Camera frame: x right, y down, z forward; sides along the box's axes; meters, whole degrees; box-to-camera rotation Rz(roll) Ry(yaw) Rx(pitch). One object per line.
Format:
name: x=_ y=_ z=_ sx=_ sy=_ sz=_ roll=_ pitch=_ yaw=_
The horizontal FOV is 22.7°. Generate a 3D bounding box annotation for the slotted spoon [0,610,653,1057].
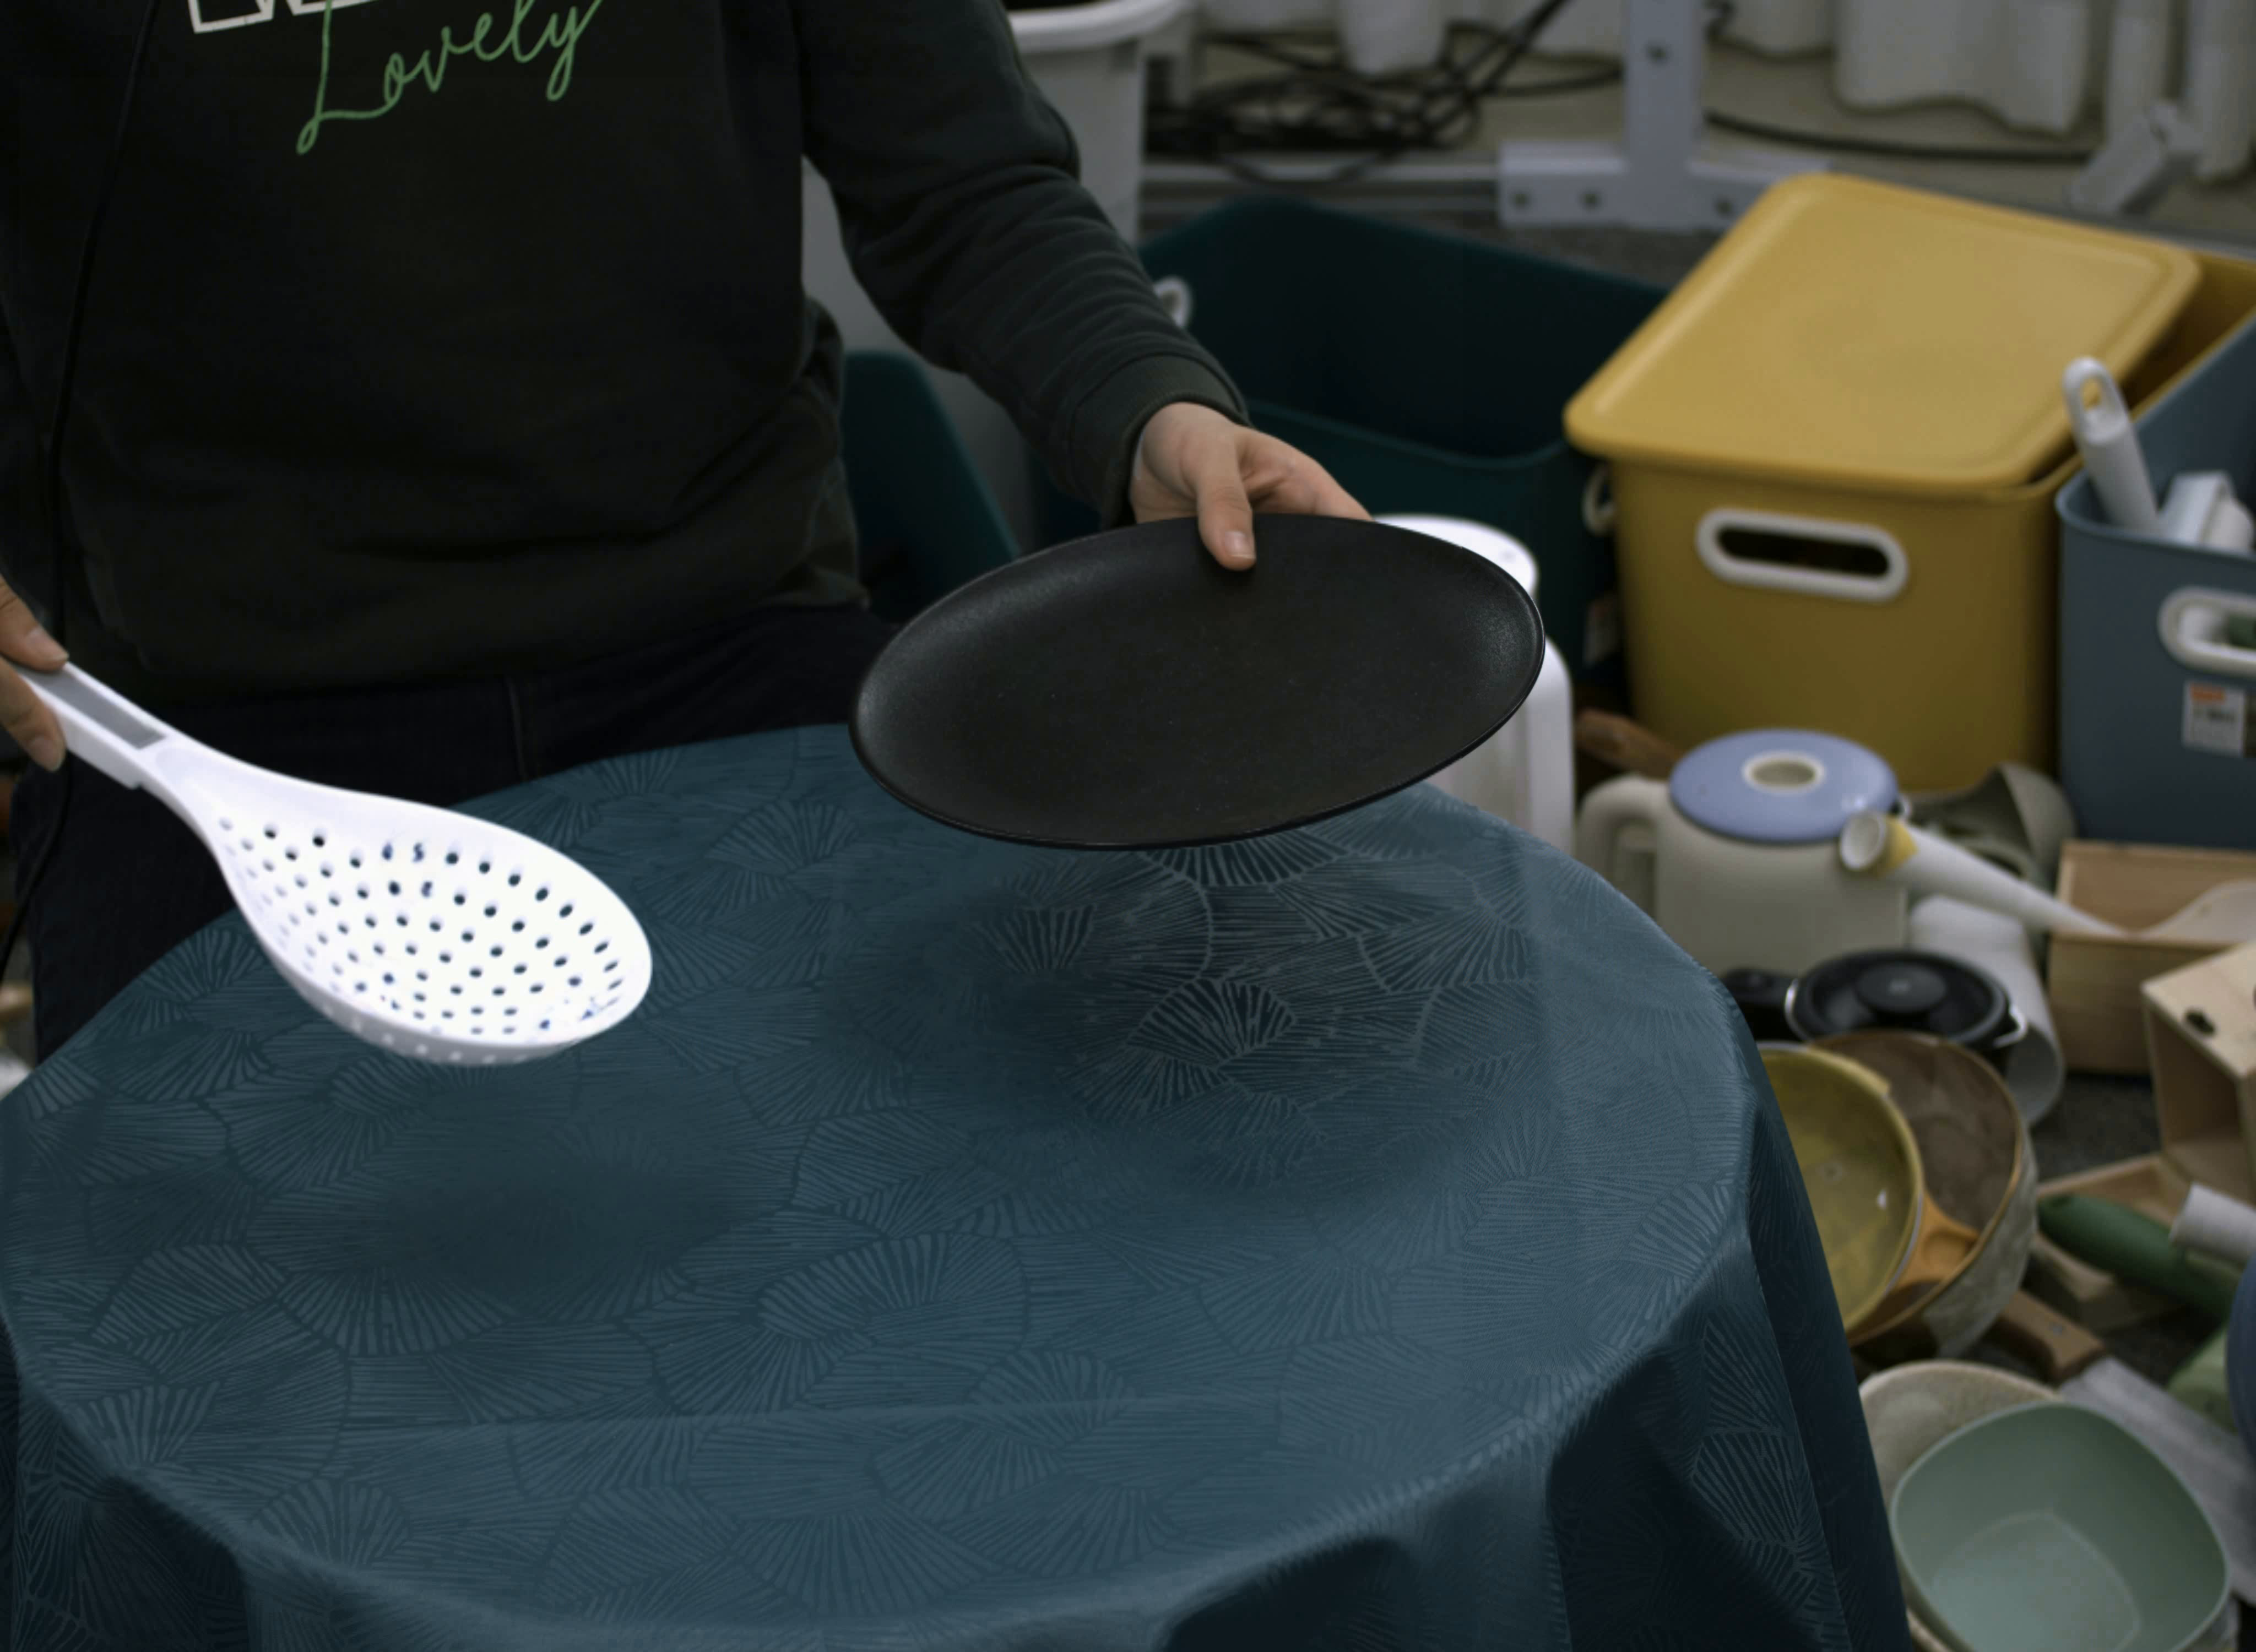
slotted spoon: x=-0.308 y=-0.017 z=1.854 sx=0.350 sy=0.045 sz=0.137 roll=35 pitch=29 yaw=17

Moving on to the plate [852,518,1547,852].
plate: x=0.025 y=-0.045 z=1.951 sx=0.243 sy=0.023 sz=0.248 roll=-6 pitch=28 yaw=3
